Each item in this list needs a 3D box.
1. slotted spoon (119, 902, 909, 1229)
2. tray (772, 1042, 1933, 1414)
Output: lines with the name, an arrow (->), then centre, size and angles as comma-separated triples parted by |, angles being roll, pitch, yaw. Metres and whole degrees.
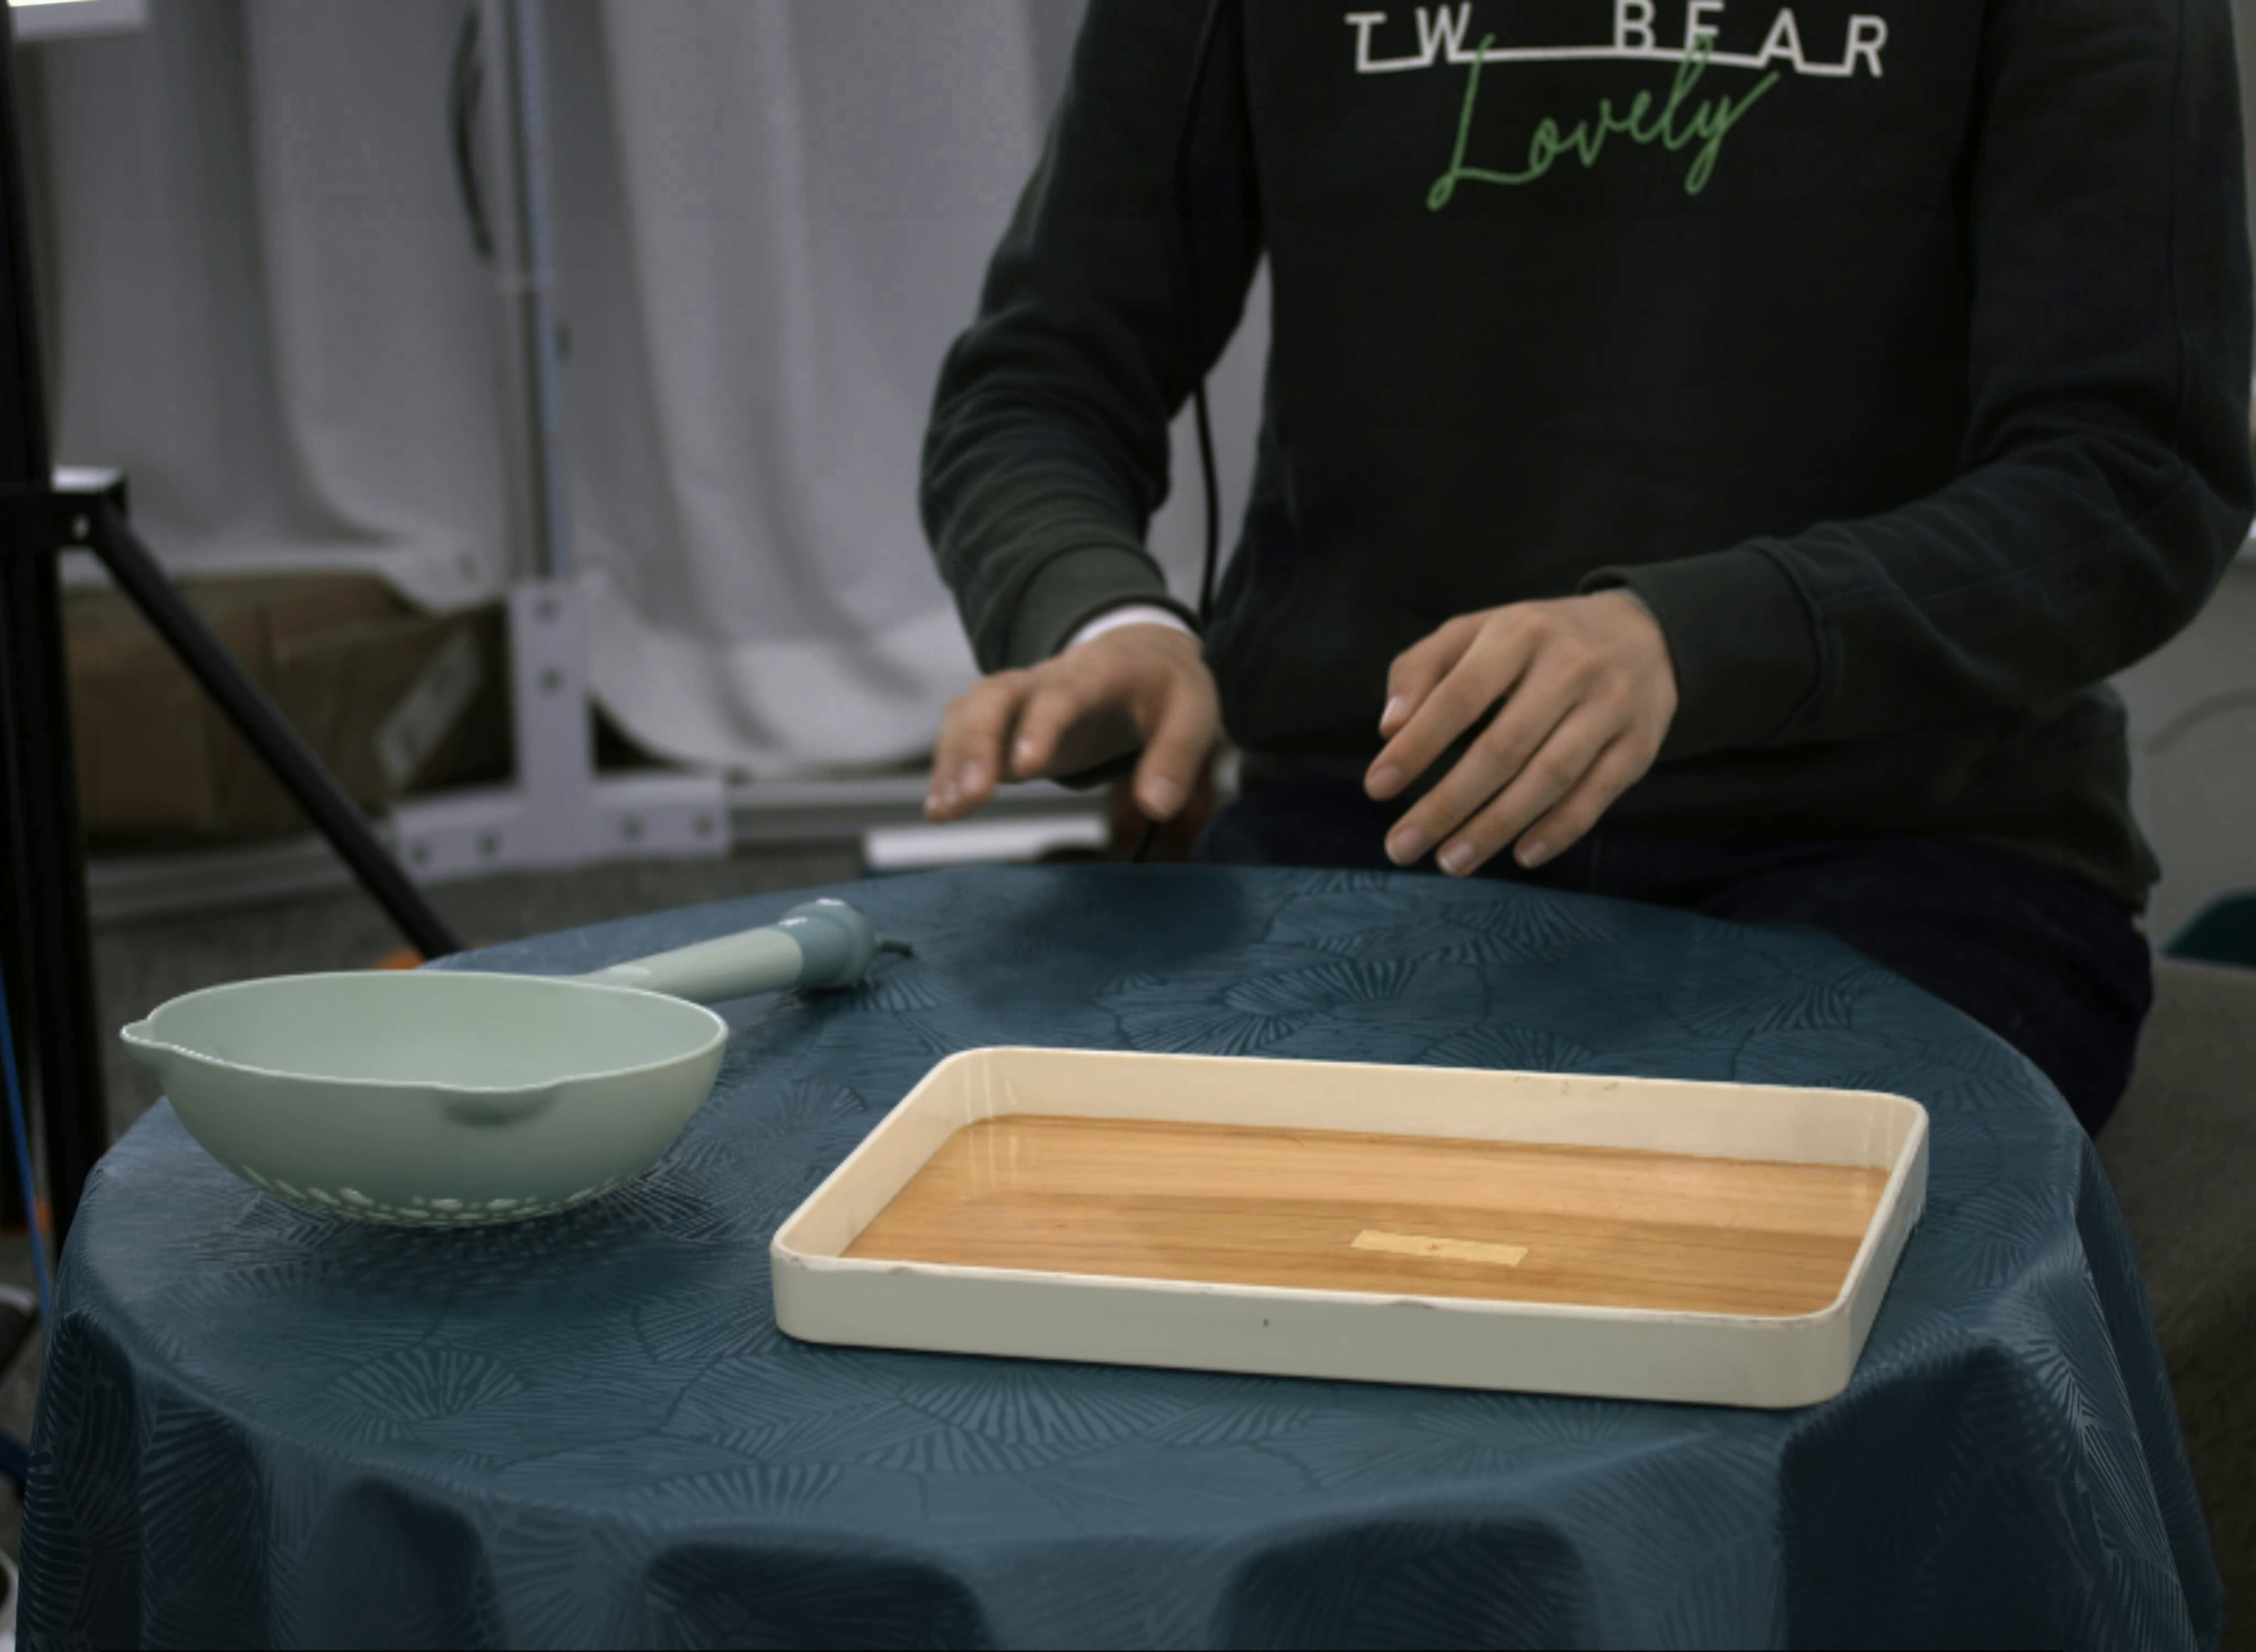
slotted spoon -> -0.159, 0.058, 1.643 | 0.172, 0.075, 0.353 | 7, 18, 26
tray -> 0.067, 0.110, 1.491 | 0.303, 0.027, 0.190 | 3, 17, 17
